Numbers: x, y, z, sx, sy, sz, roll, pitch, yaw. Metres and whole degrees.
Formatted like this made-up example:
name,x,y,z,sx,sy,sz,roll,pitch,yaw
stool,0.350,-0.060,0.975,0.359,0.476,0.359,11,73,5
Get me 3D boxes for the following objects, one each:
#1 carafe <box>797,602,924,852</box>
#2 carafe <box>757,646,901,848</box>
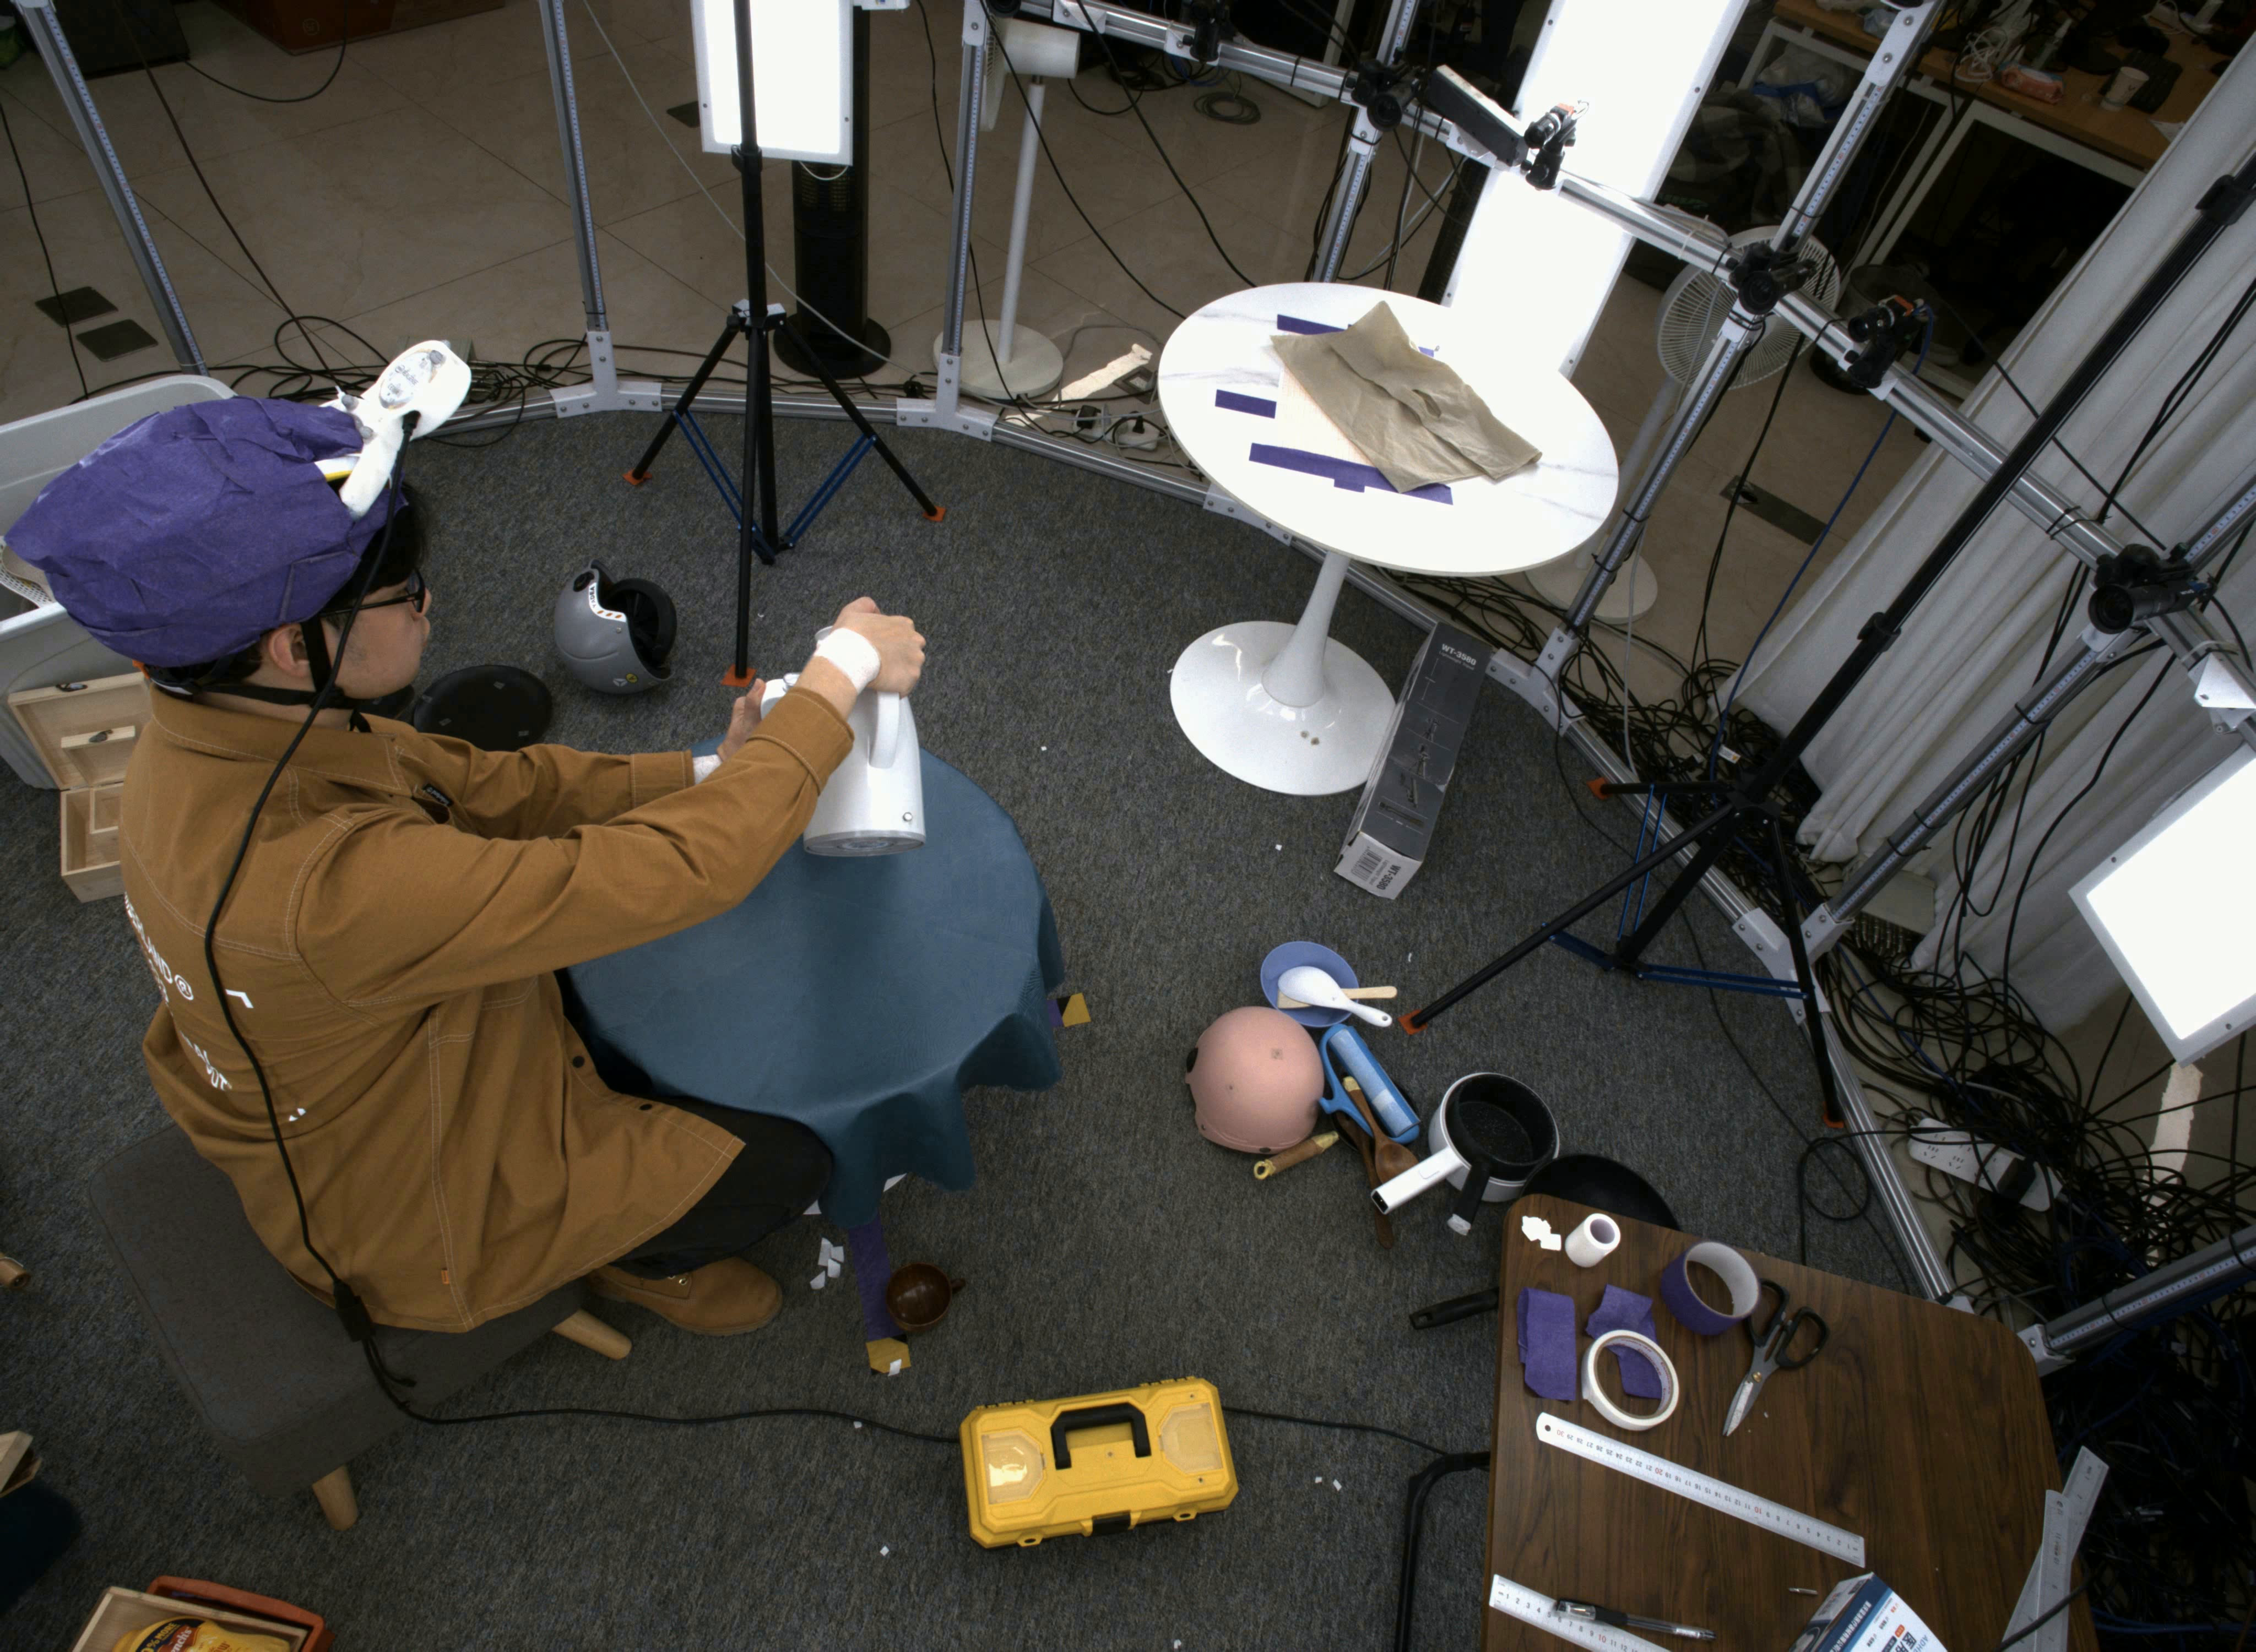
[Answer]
name,x,y,z,sx,sy,sz,roll,pitch,yaw
carafe,-0.288,-0.110,1.407,0.134,0.164,0.250,0,81,-31
carafe,-0.375,-0.097,1.634,0.173,0.274,0.121,-2,55,-13
